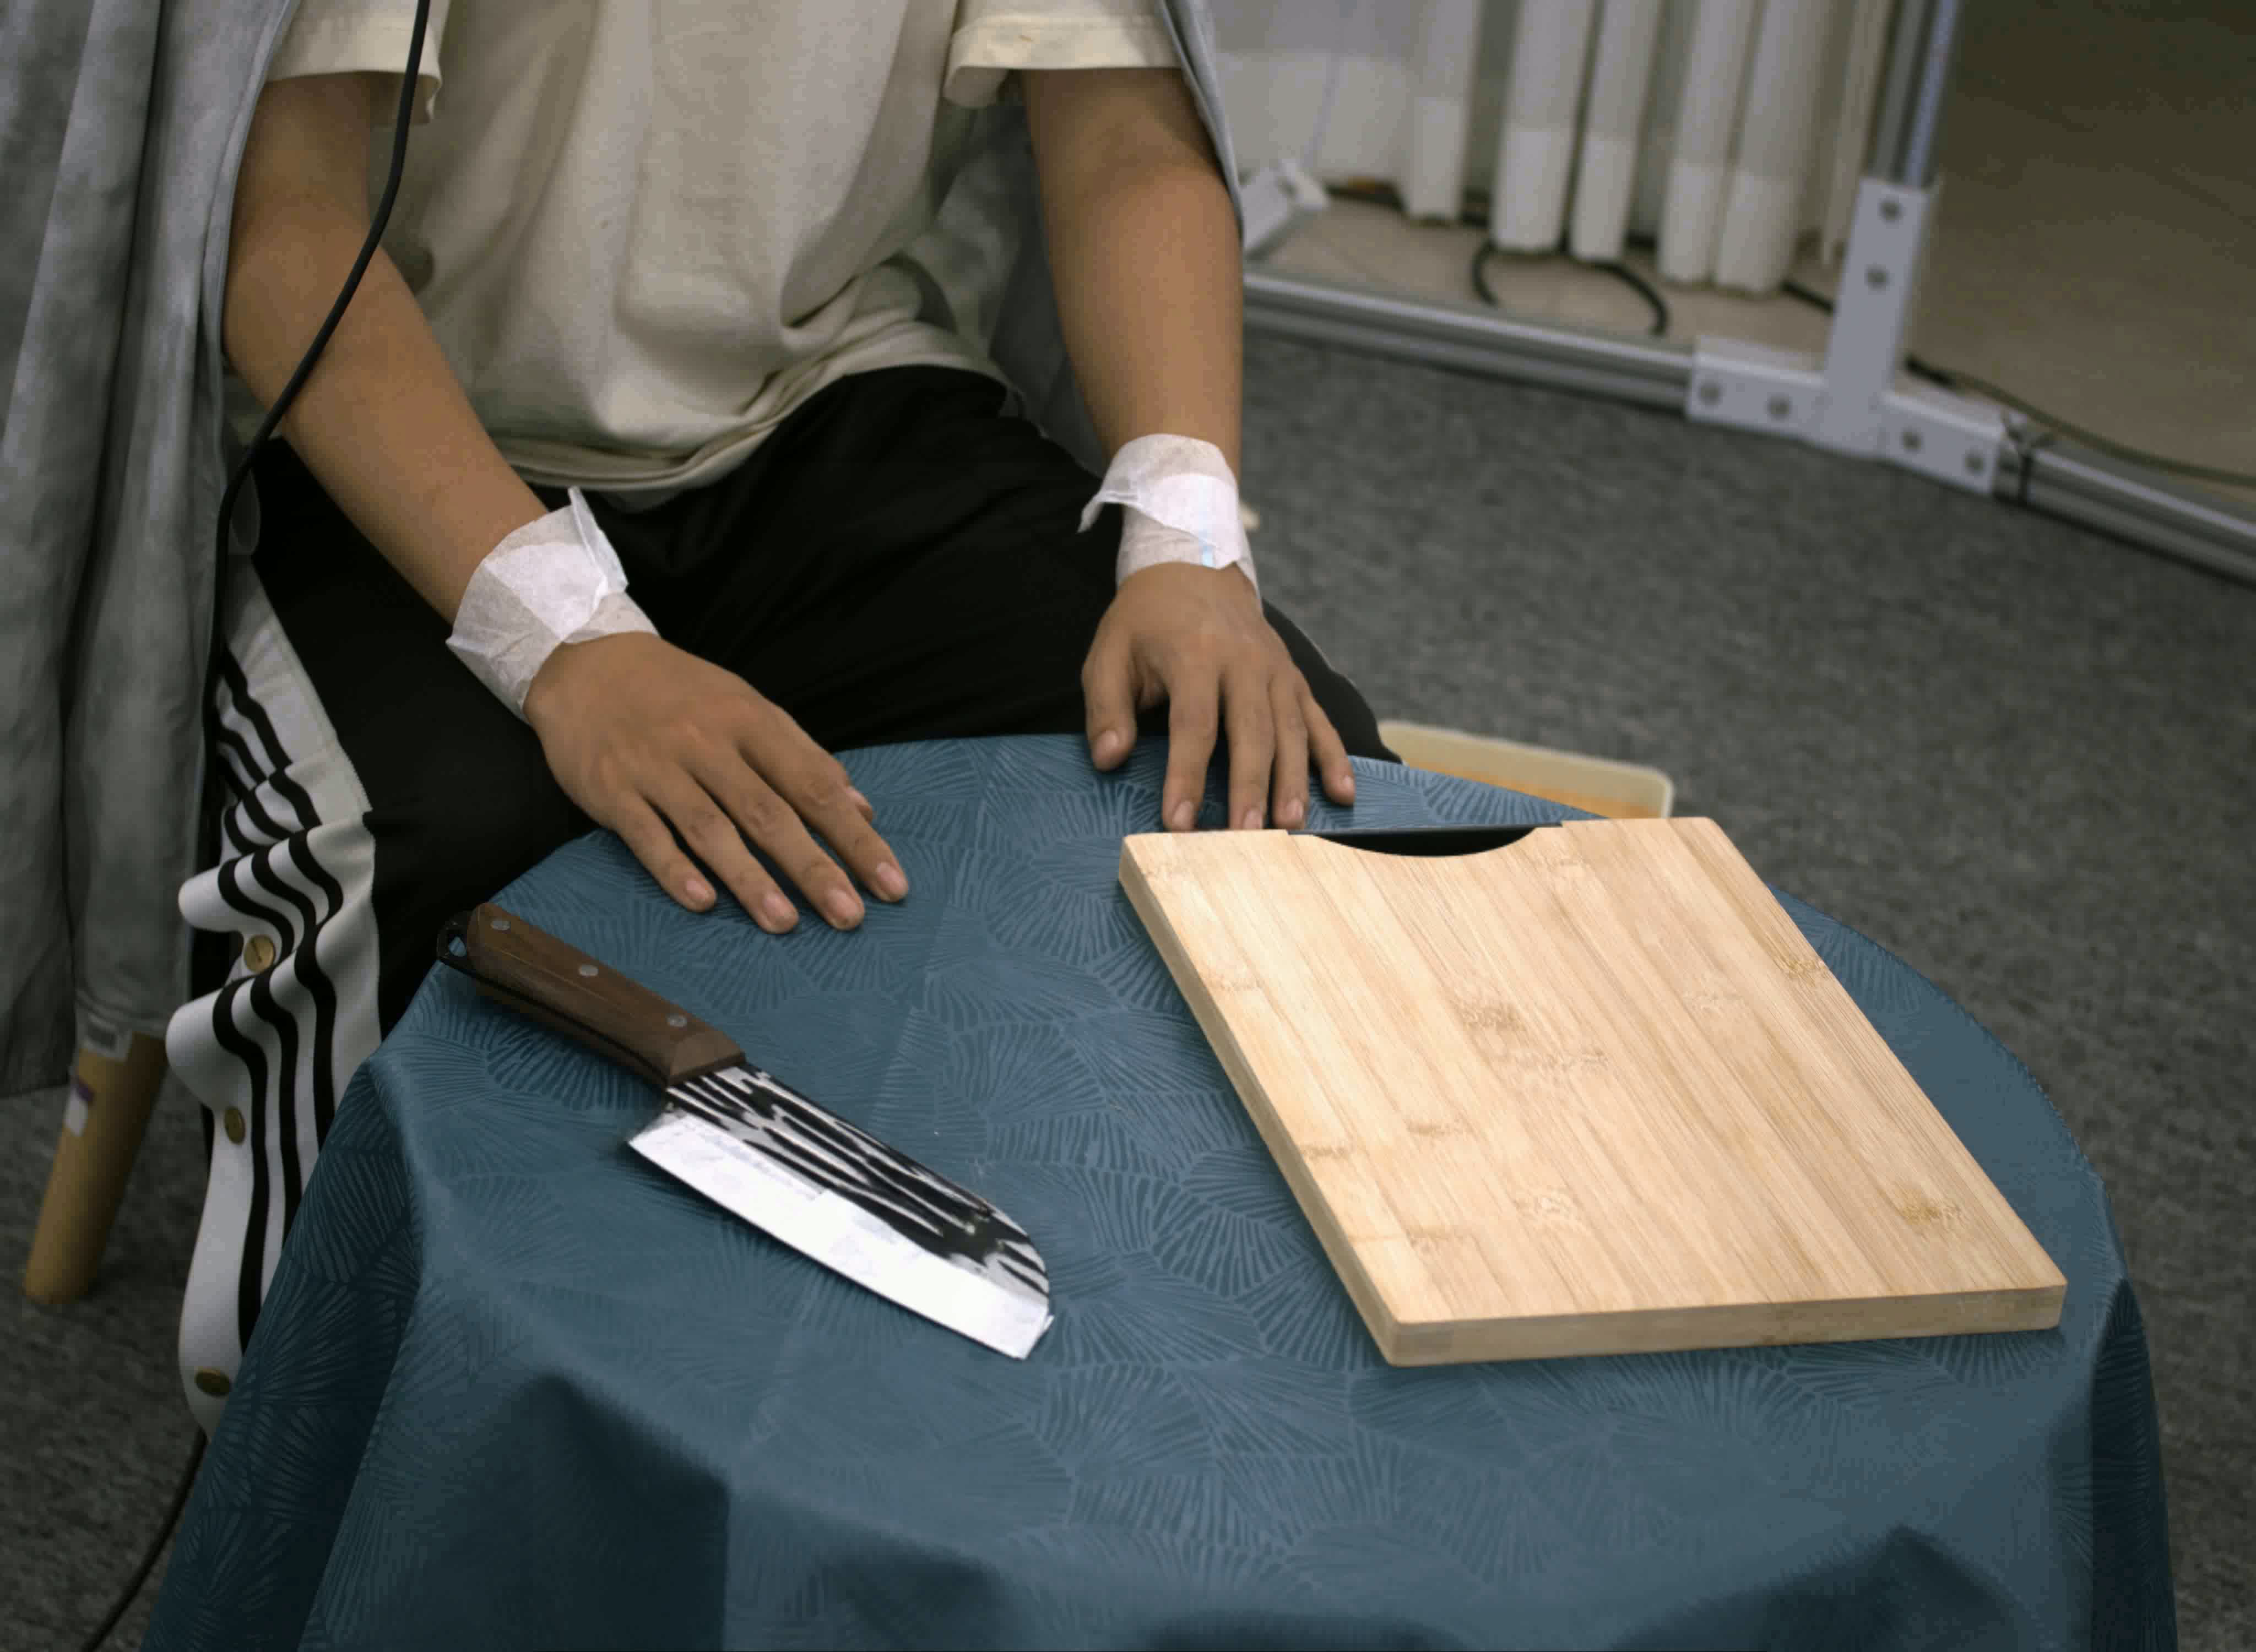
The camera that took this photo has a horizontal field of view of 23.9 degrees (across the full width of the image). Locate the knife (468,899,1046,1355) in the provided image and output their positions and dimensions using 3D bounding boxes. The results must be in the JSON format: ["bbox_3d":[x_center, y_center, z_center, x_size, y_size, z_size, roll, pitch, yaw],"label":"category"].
[{"bbox_3d":[-0.134,0.101,1.797,0.301,0.024,0.068,29,36,32],"label":"knife"}]

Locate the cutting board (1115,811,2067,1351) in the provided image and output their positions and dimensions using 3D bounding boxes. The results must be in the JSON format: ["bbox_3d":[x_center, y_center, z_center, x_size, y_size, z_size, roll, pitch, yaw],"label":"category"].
[{"bbox_3d":[0.155,0.085,1.899,0.249,0.023,0.351,-2,28,-17],"label":"cutting board"}]
